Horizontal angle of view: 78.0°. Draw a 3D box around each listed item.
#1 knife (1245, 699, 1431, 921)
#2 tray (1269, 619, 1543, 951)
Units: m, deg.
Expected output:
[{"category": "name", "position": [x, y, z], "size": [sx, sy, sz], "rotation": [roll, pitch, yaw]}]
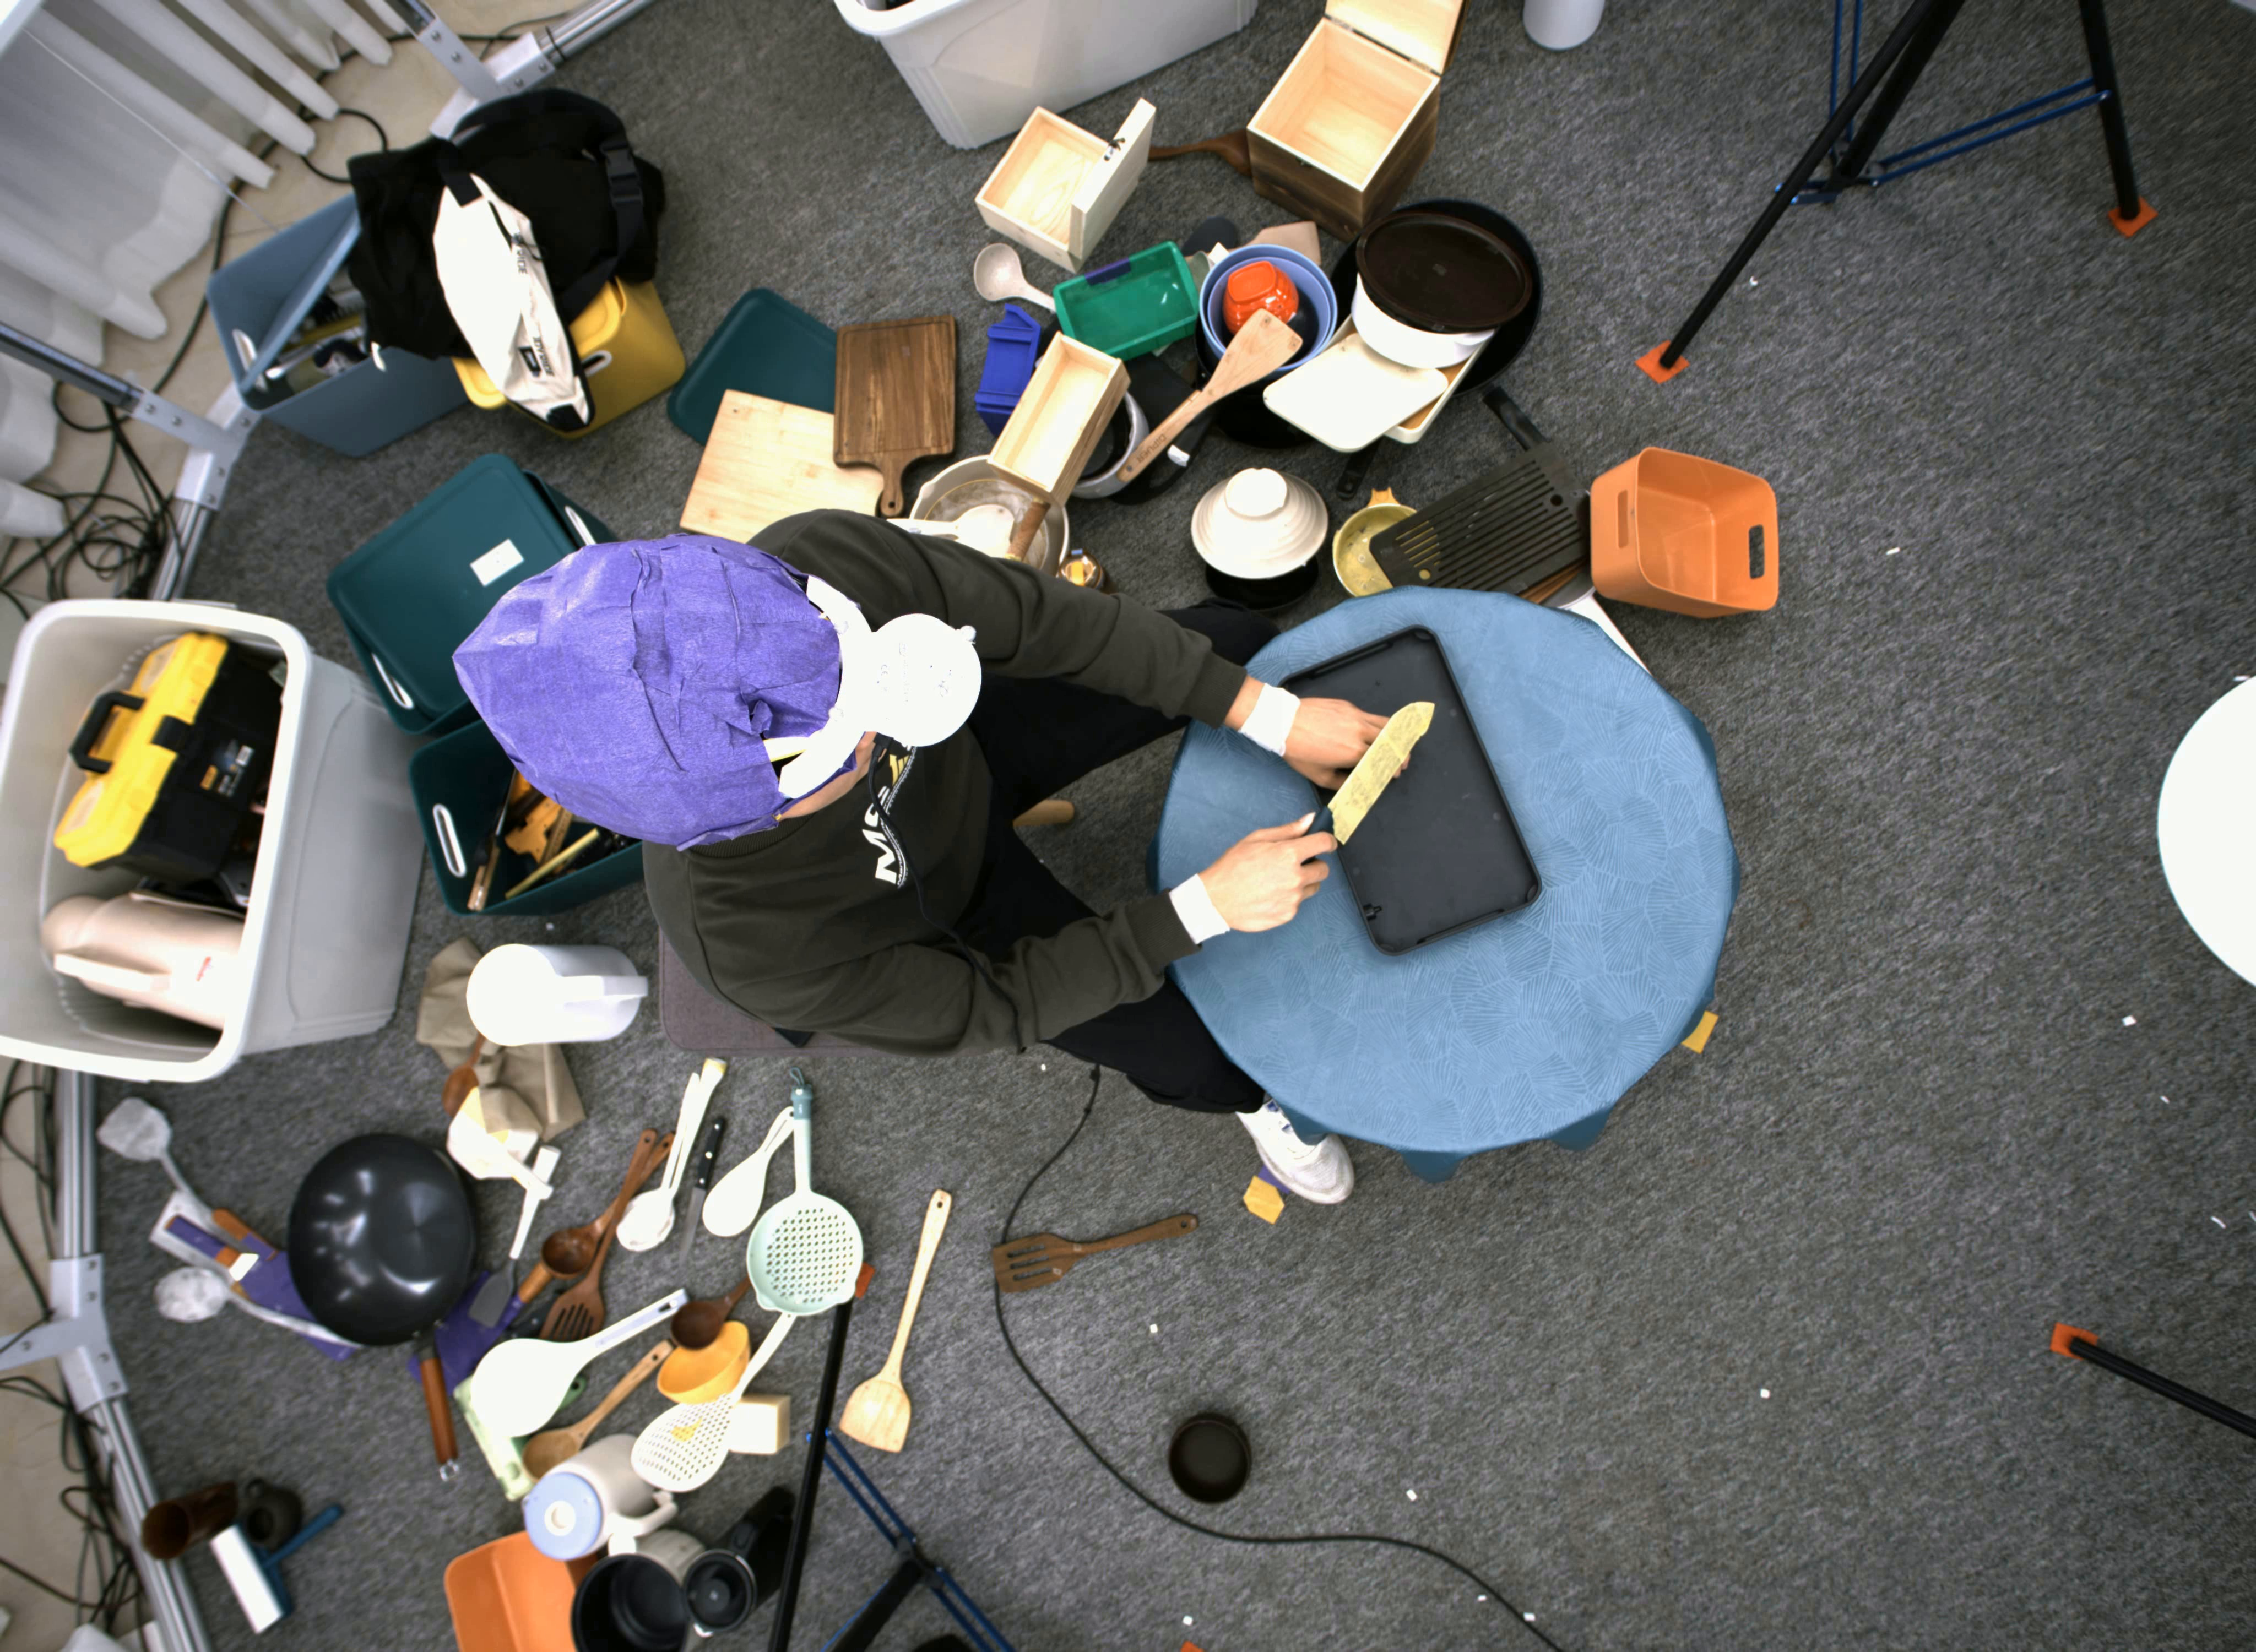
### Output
[{"category": "knife", "position": [0.217, -0.017, 1.393], "size": [0.289, 0.082, 0.027], "rotation": [-51, 52, -1]}, {"category": "tray", "position": [0.289, -0.044, 1.444], "size": [0.185, 0.037, 0.316], "rotation": [-24, 82, 9]}]
